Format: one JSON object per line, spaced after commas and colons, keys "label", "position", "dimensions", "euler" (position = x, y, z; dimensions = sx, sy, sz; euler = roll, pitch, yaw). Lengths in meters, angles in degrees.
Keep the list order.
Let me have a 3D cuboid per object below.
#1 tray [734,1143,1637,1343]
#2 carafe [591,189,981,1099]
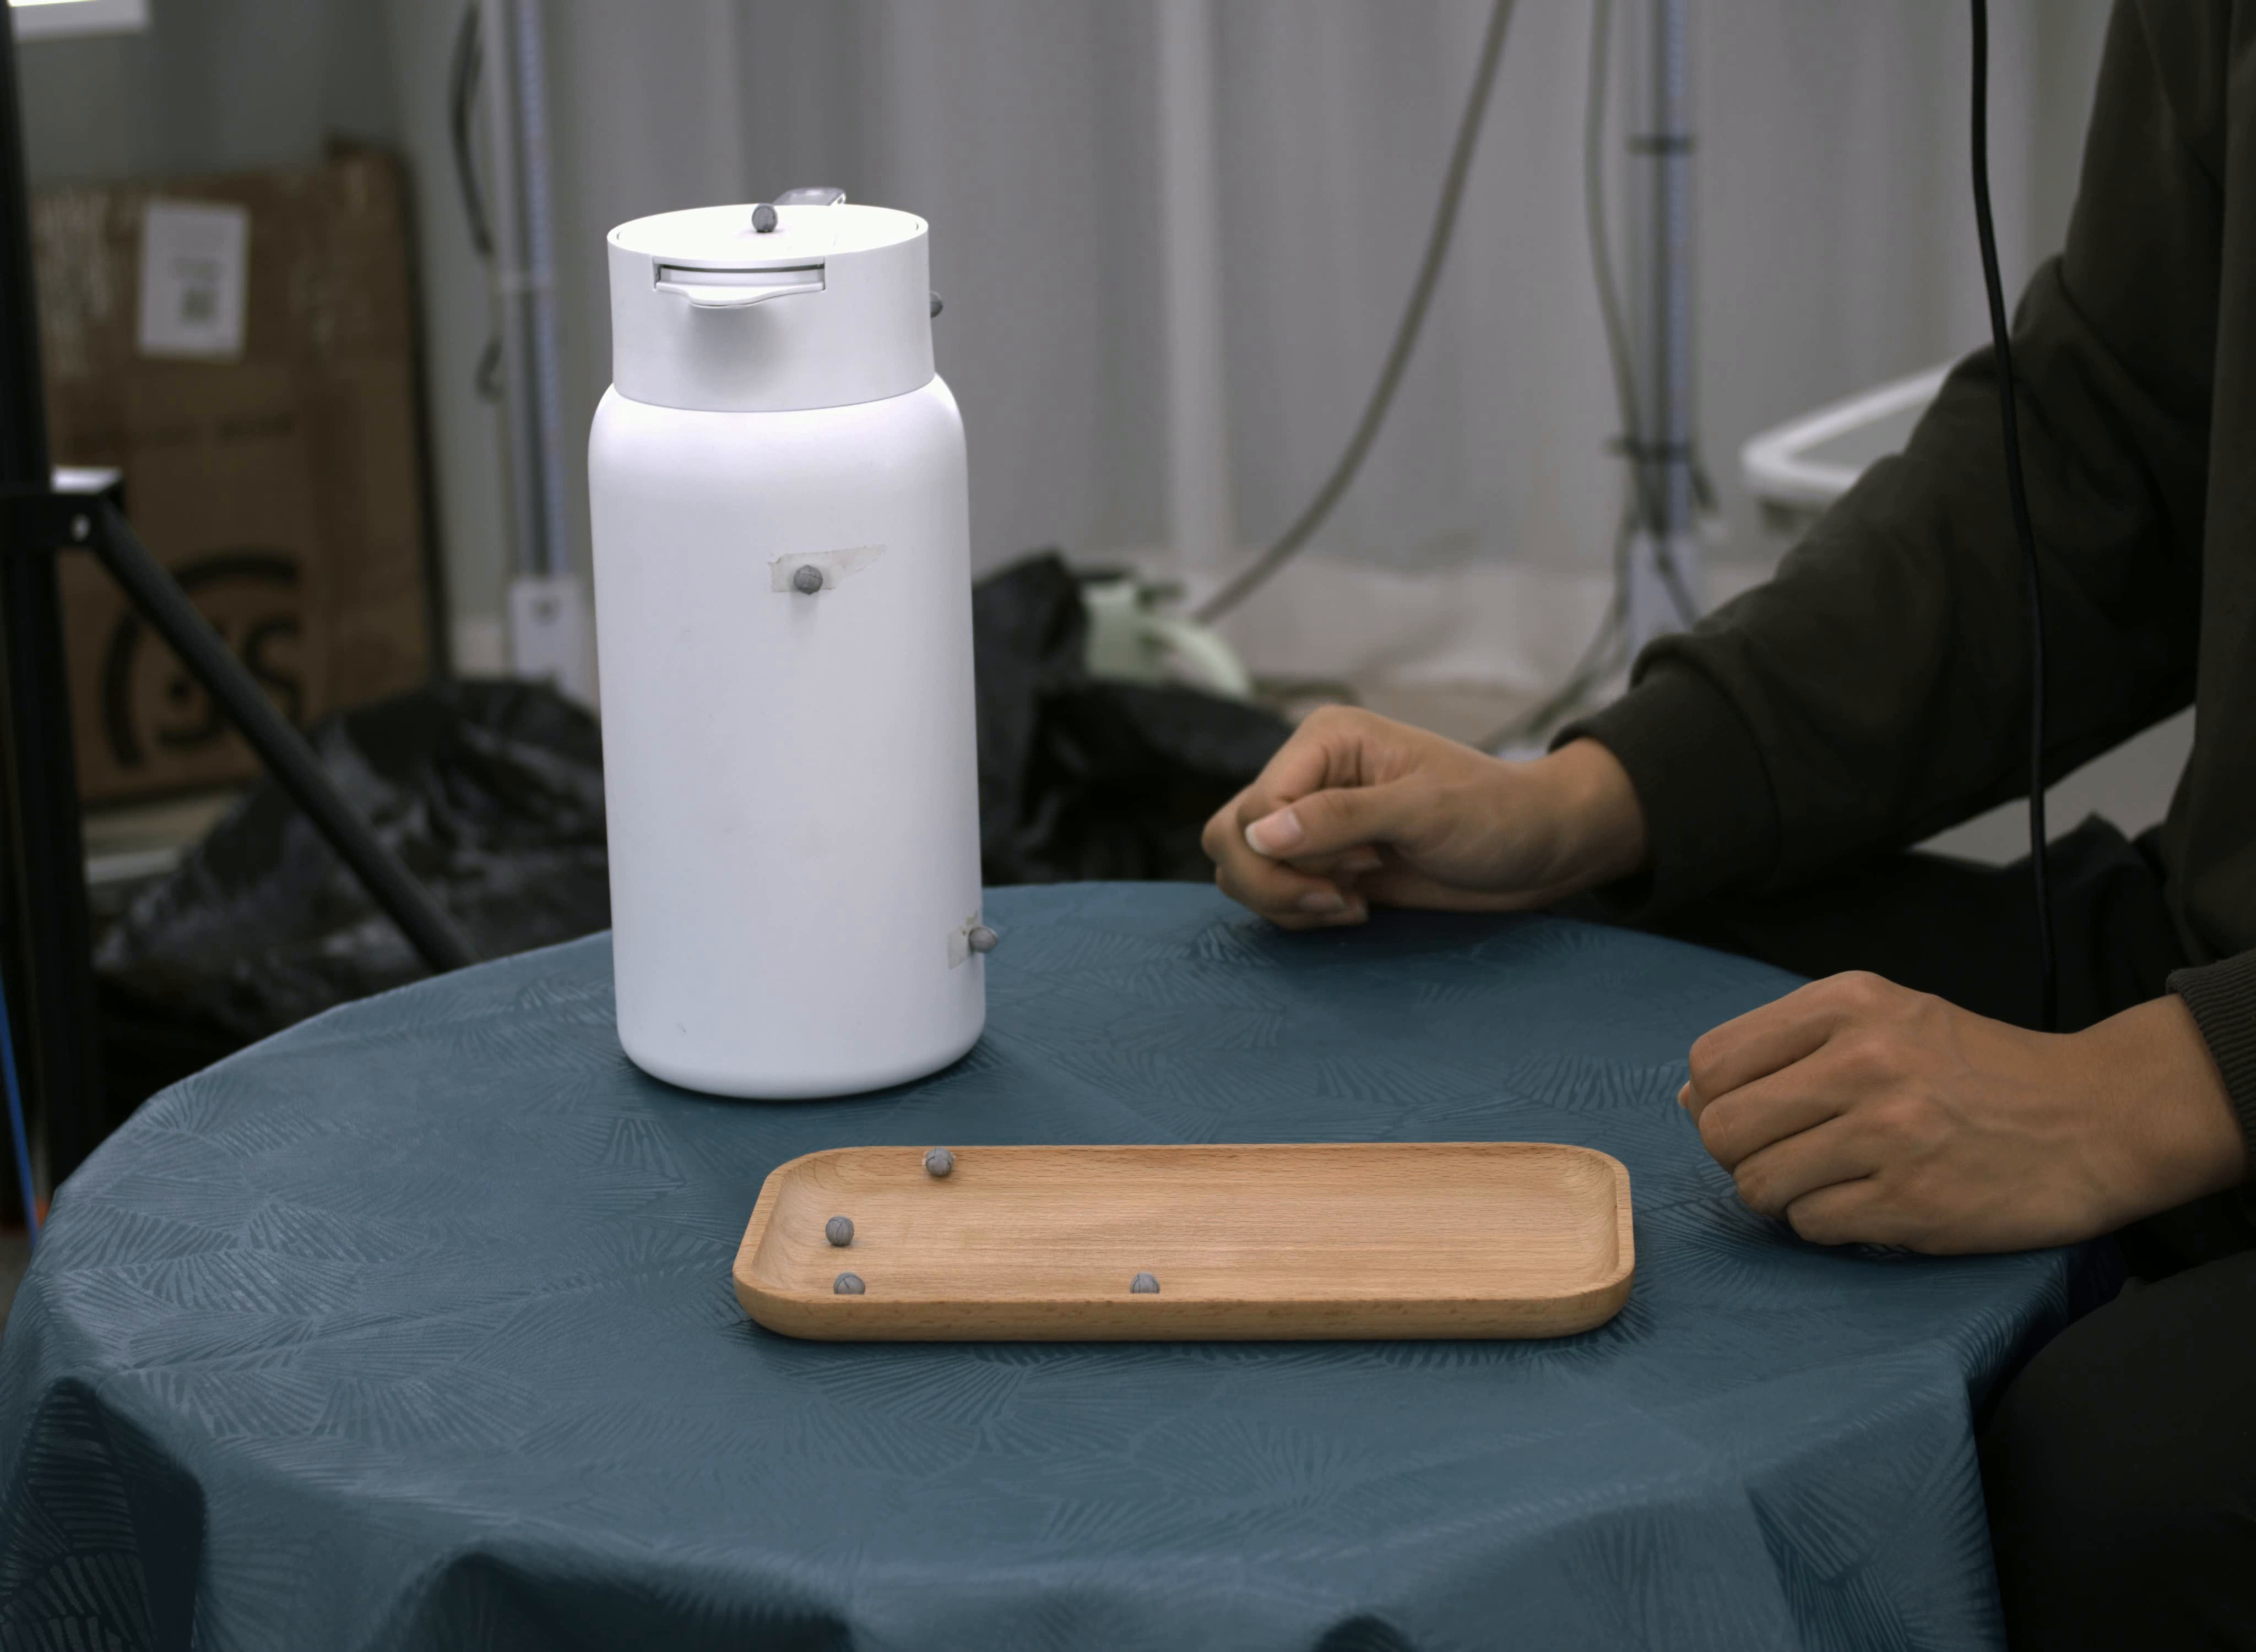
{"label": "tray", "position": [0.018, 0.118, 1.496], "dimensions": [0.251, 0.023, 0.130], "euler": [0, 18, 7]}
{"label": "carafe", "position": [-0.105, -0.061, 1.686], "dimensions": [0.124, 0.269, 0.172], "euler": [0, 15, 11]}
